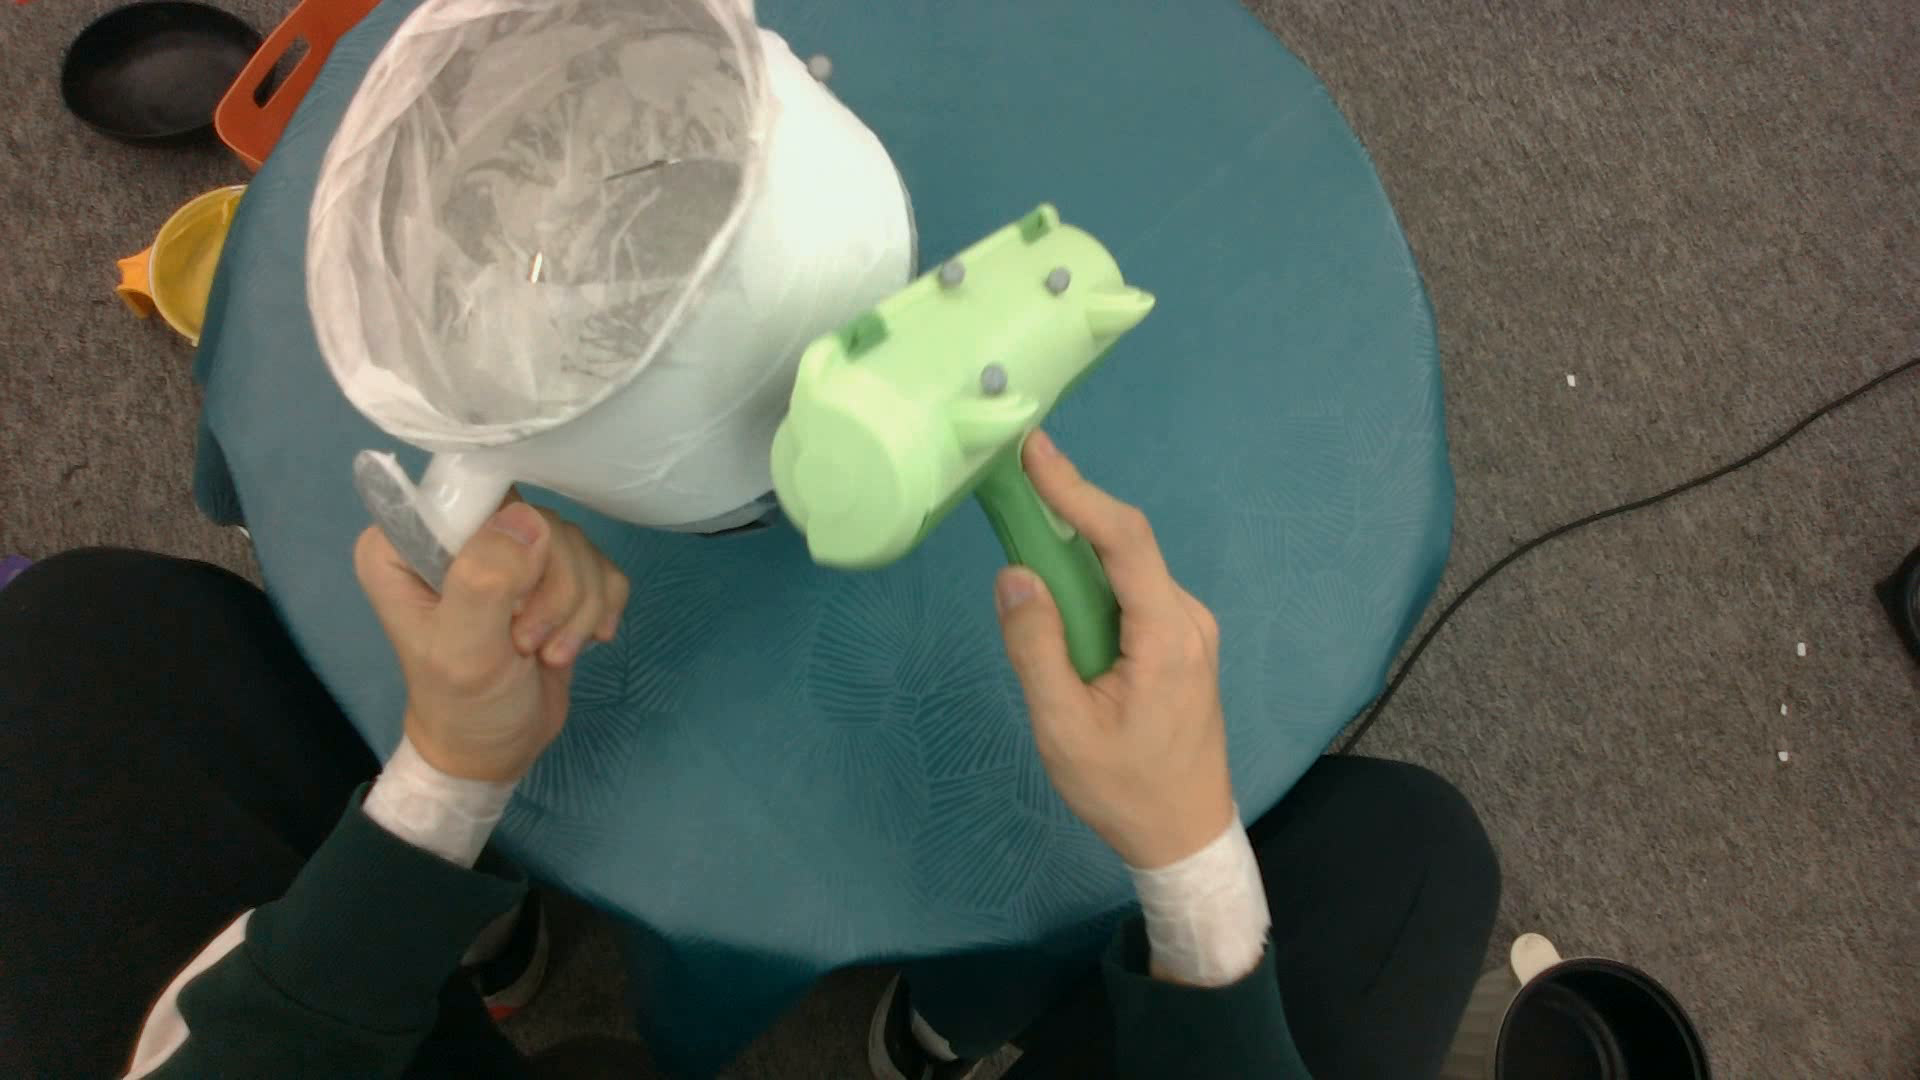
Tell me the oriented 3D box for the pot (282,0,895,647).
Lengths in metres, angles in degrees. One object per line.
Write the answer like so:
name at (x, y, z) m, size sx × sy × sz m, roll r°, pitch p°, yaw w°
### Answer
pot at (-0.132, -0.078, 0.484) m, size 0.178 × 0.136 × 0.234 m, roll 20°, pitch 87°, yaw 28°

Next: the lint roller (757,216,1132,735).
lint roller at (0.032, -0.015, 0.489) m, size 0.183 × 0.082 × 0.199 m, roll 56°, pitch 34°, yaw -9°
